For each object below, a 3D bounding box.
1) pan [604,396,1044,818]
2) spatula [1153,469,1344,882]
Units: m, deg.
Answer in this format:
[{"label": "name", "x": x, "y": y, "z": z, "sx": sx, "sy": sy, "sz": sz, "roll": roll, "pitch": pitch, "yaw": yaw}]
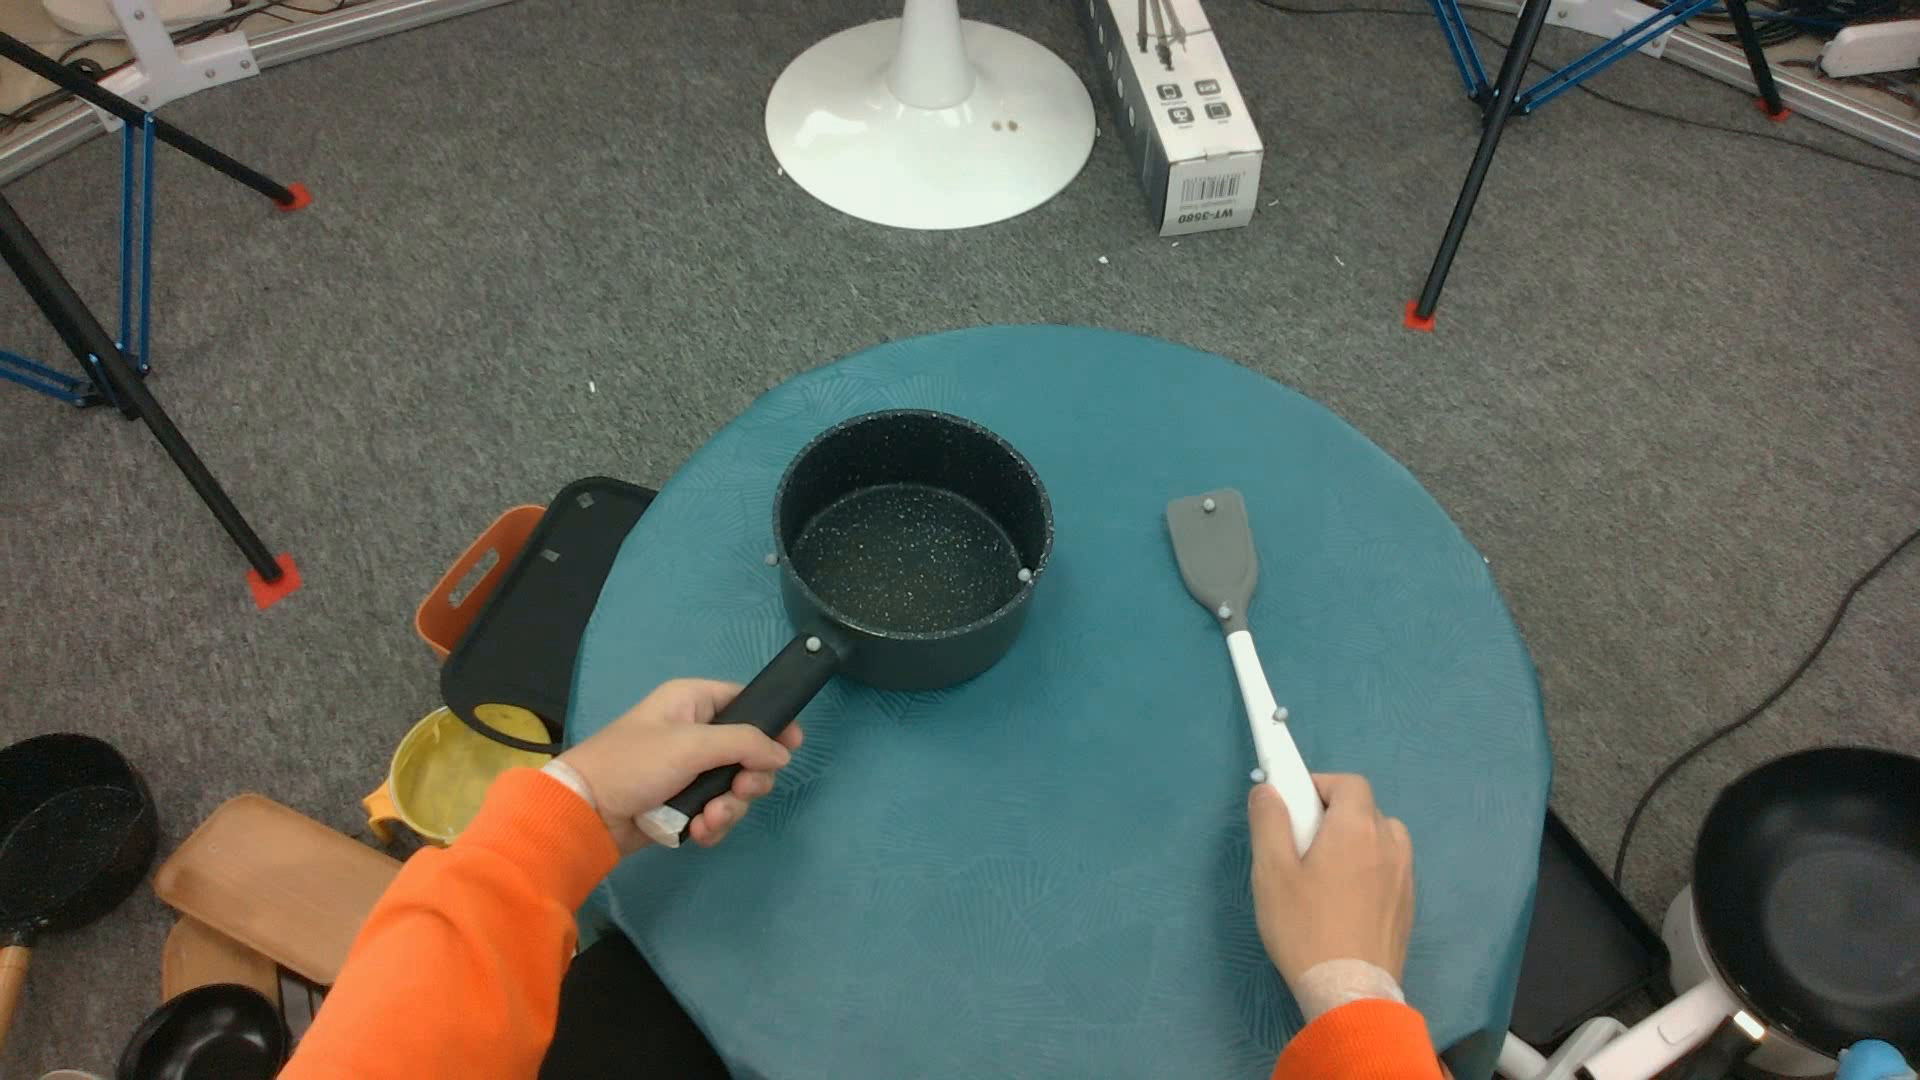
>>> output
[{"label": "pan", "x": -0.081, "y": 0.049, "z": 0.814, "sx": 0.172, "sy": 0.086, "sz": 0.330, "roll": 31, "pitch": 55, "yaw": 16}, {"label": "spatula", "x": 0.175, "y": 0.071, "z": 0.843, "sx": 0.058, "sy": 0.032, "sz": 0.289, "roll": -16, "pitch": 50, "yaw": 8}]
